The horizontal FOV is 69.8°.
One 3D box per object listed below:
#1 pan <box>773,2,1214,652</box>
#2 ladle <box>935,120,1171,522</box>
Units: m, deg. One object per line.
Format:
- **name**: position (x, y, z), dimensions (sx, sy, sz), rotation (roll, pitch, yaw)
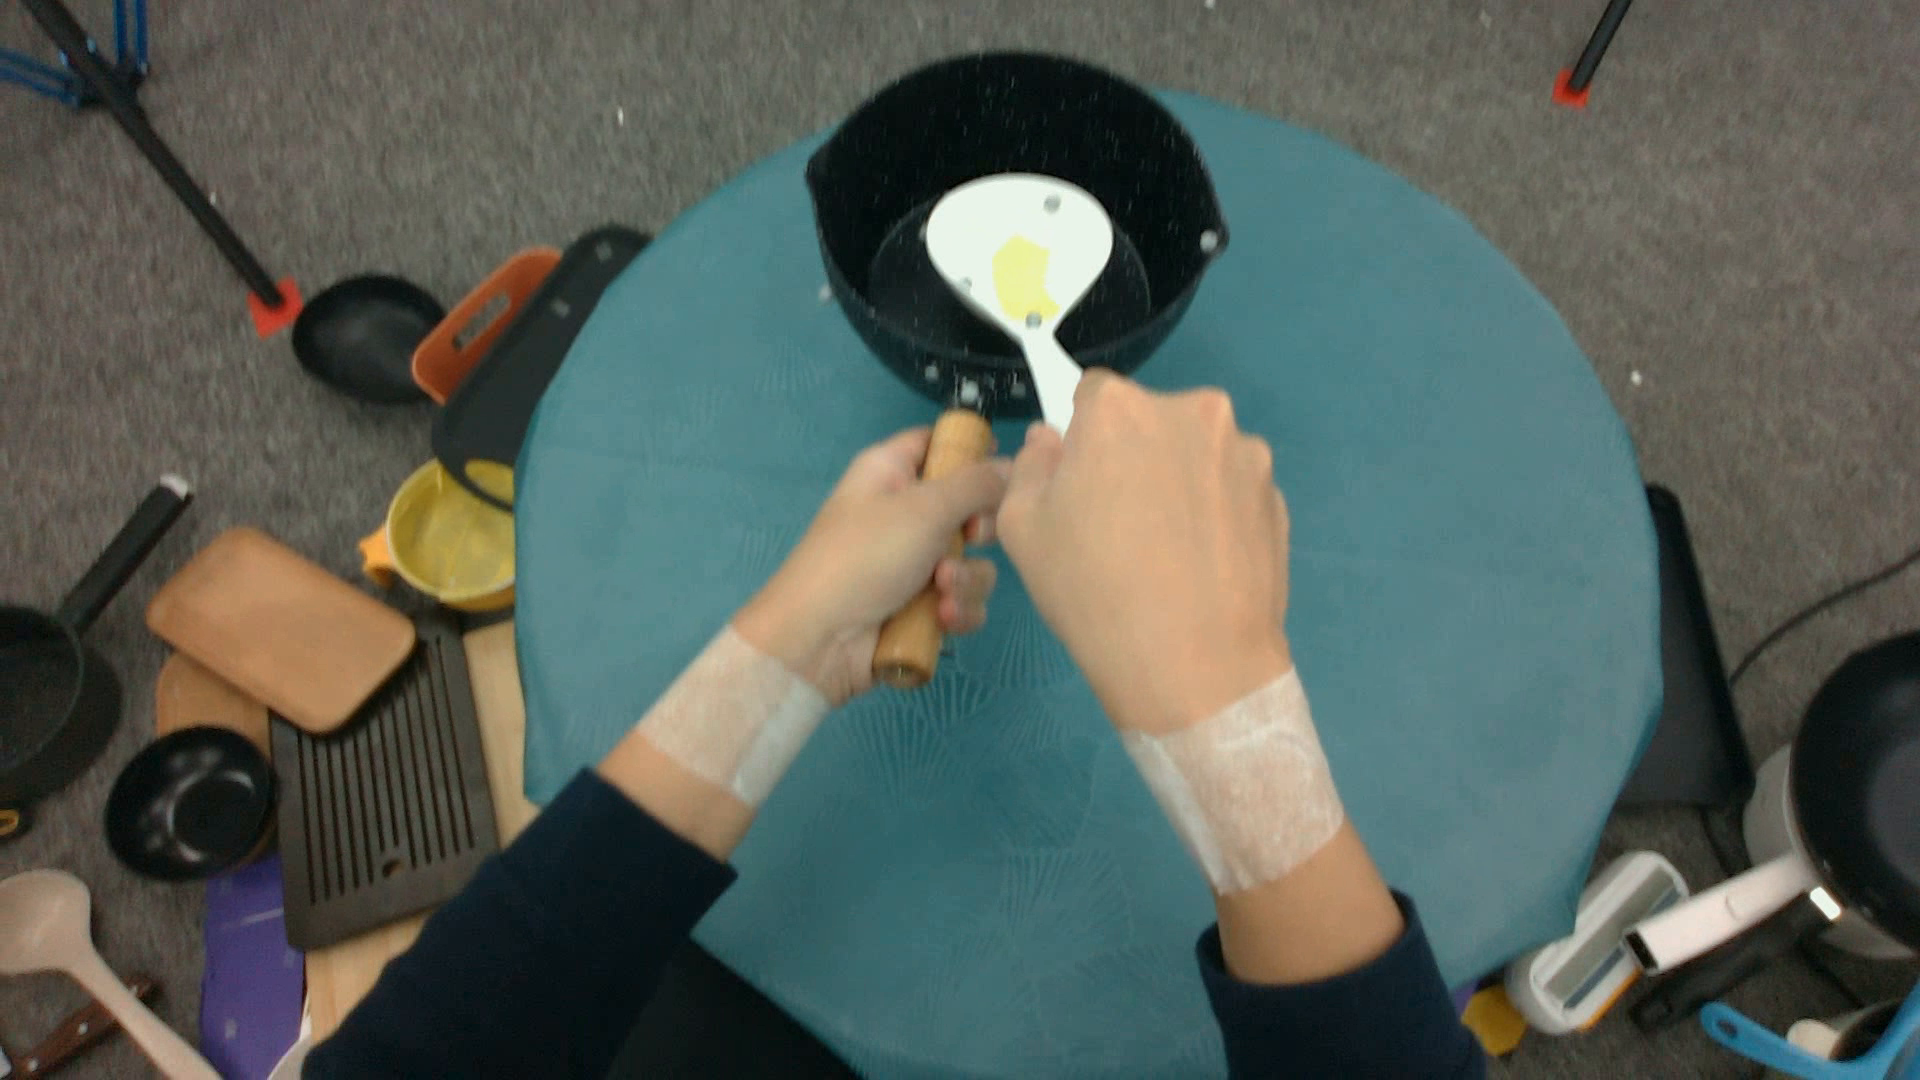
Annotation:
- **pan**: position (0.003, -0.094, 0.628), dimensions (0.207, 0.108, 0.344), rotation (9, 65, 2)
- **ladle**: position (0.041, -0.105, 0.562), dimensions (0.090, 0.069, 0.294), rotation (3, 28, -7)
